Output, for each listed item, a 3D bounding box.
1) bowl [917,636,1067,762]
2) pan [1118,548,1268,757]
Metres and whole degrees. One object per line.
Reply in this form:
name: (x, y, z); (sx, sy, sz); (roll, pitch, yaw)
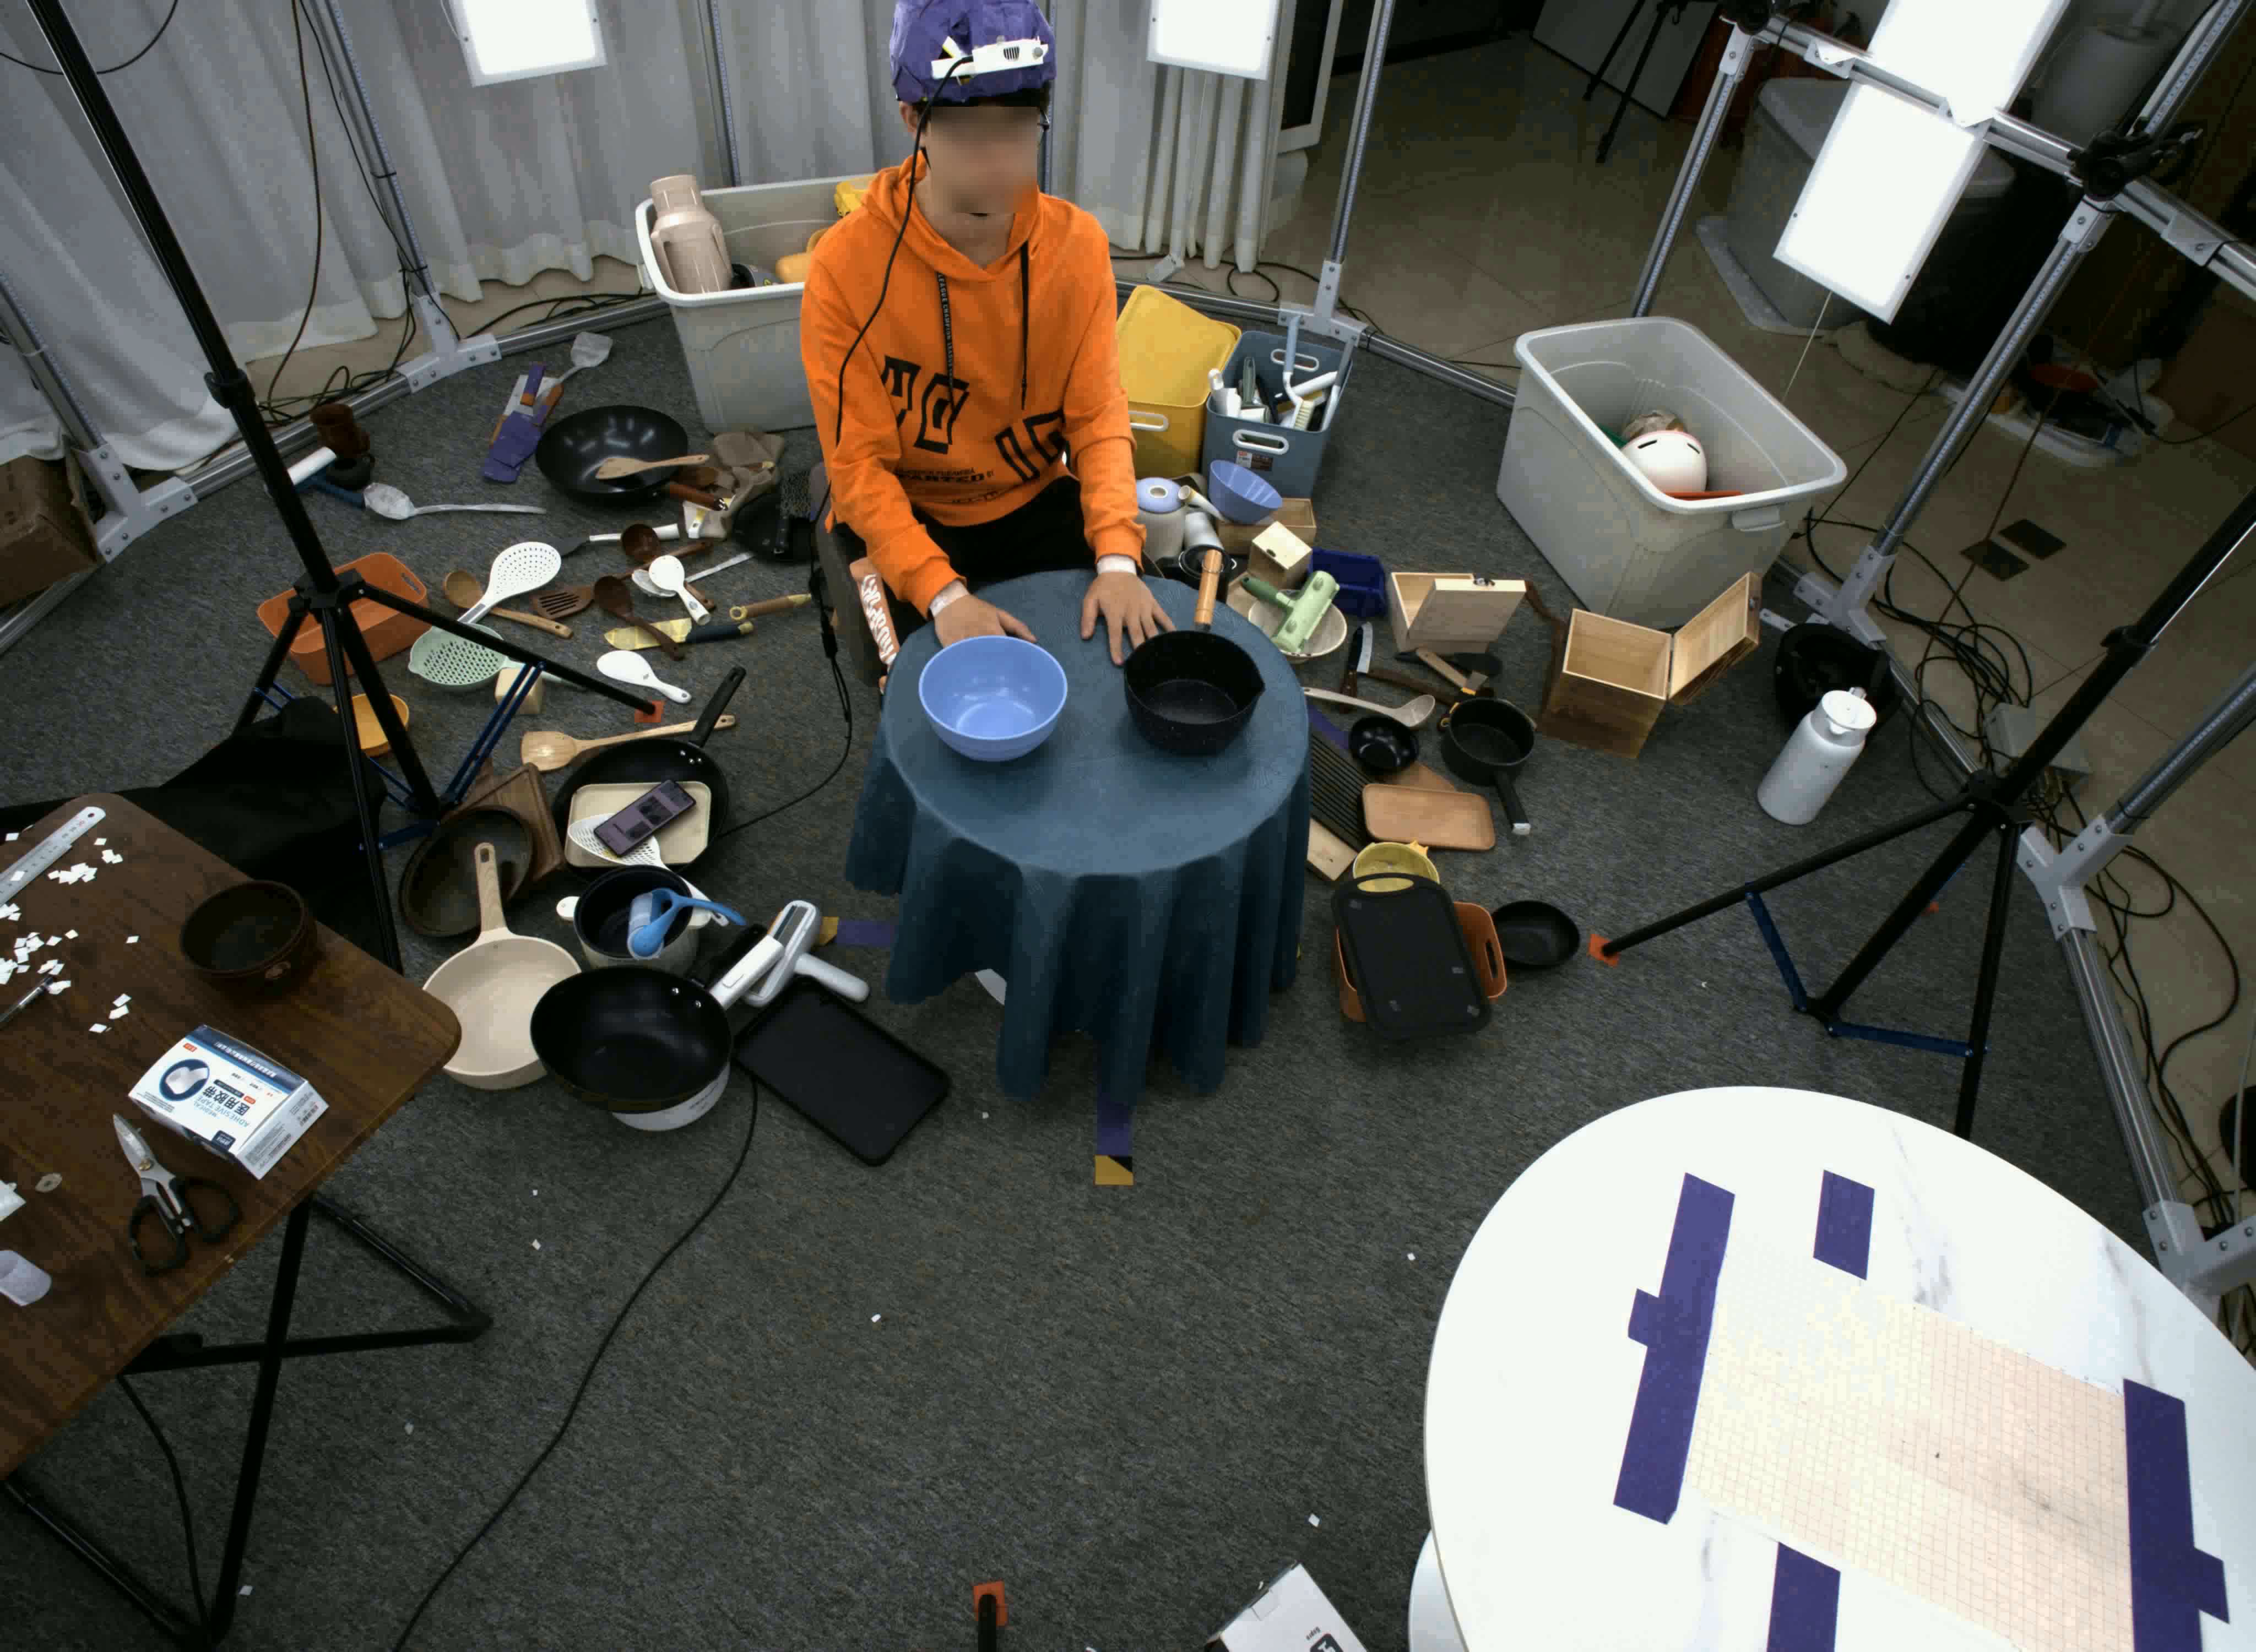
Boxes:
bowl: (-0.181, -0.157, 1.731); (0.196, 0.093, 0.201); (1, 50, -2)
pan: (0.097, -0.247, 1.819); (0.207, 0.105, 0.351); (7, 50, 4)
